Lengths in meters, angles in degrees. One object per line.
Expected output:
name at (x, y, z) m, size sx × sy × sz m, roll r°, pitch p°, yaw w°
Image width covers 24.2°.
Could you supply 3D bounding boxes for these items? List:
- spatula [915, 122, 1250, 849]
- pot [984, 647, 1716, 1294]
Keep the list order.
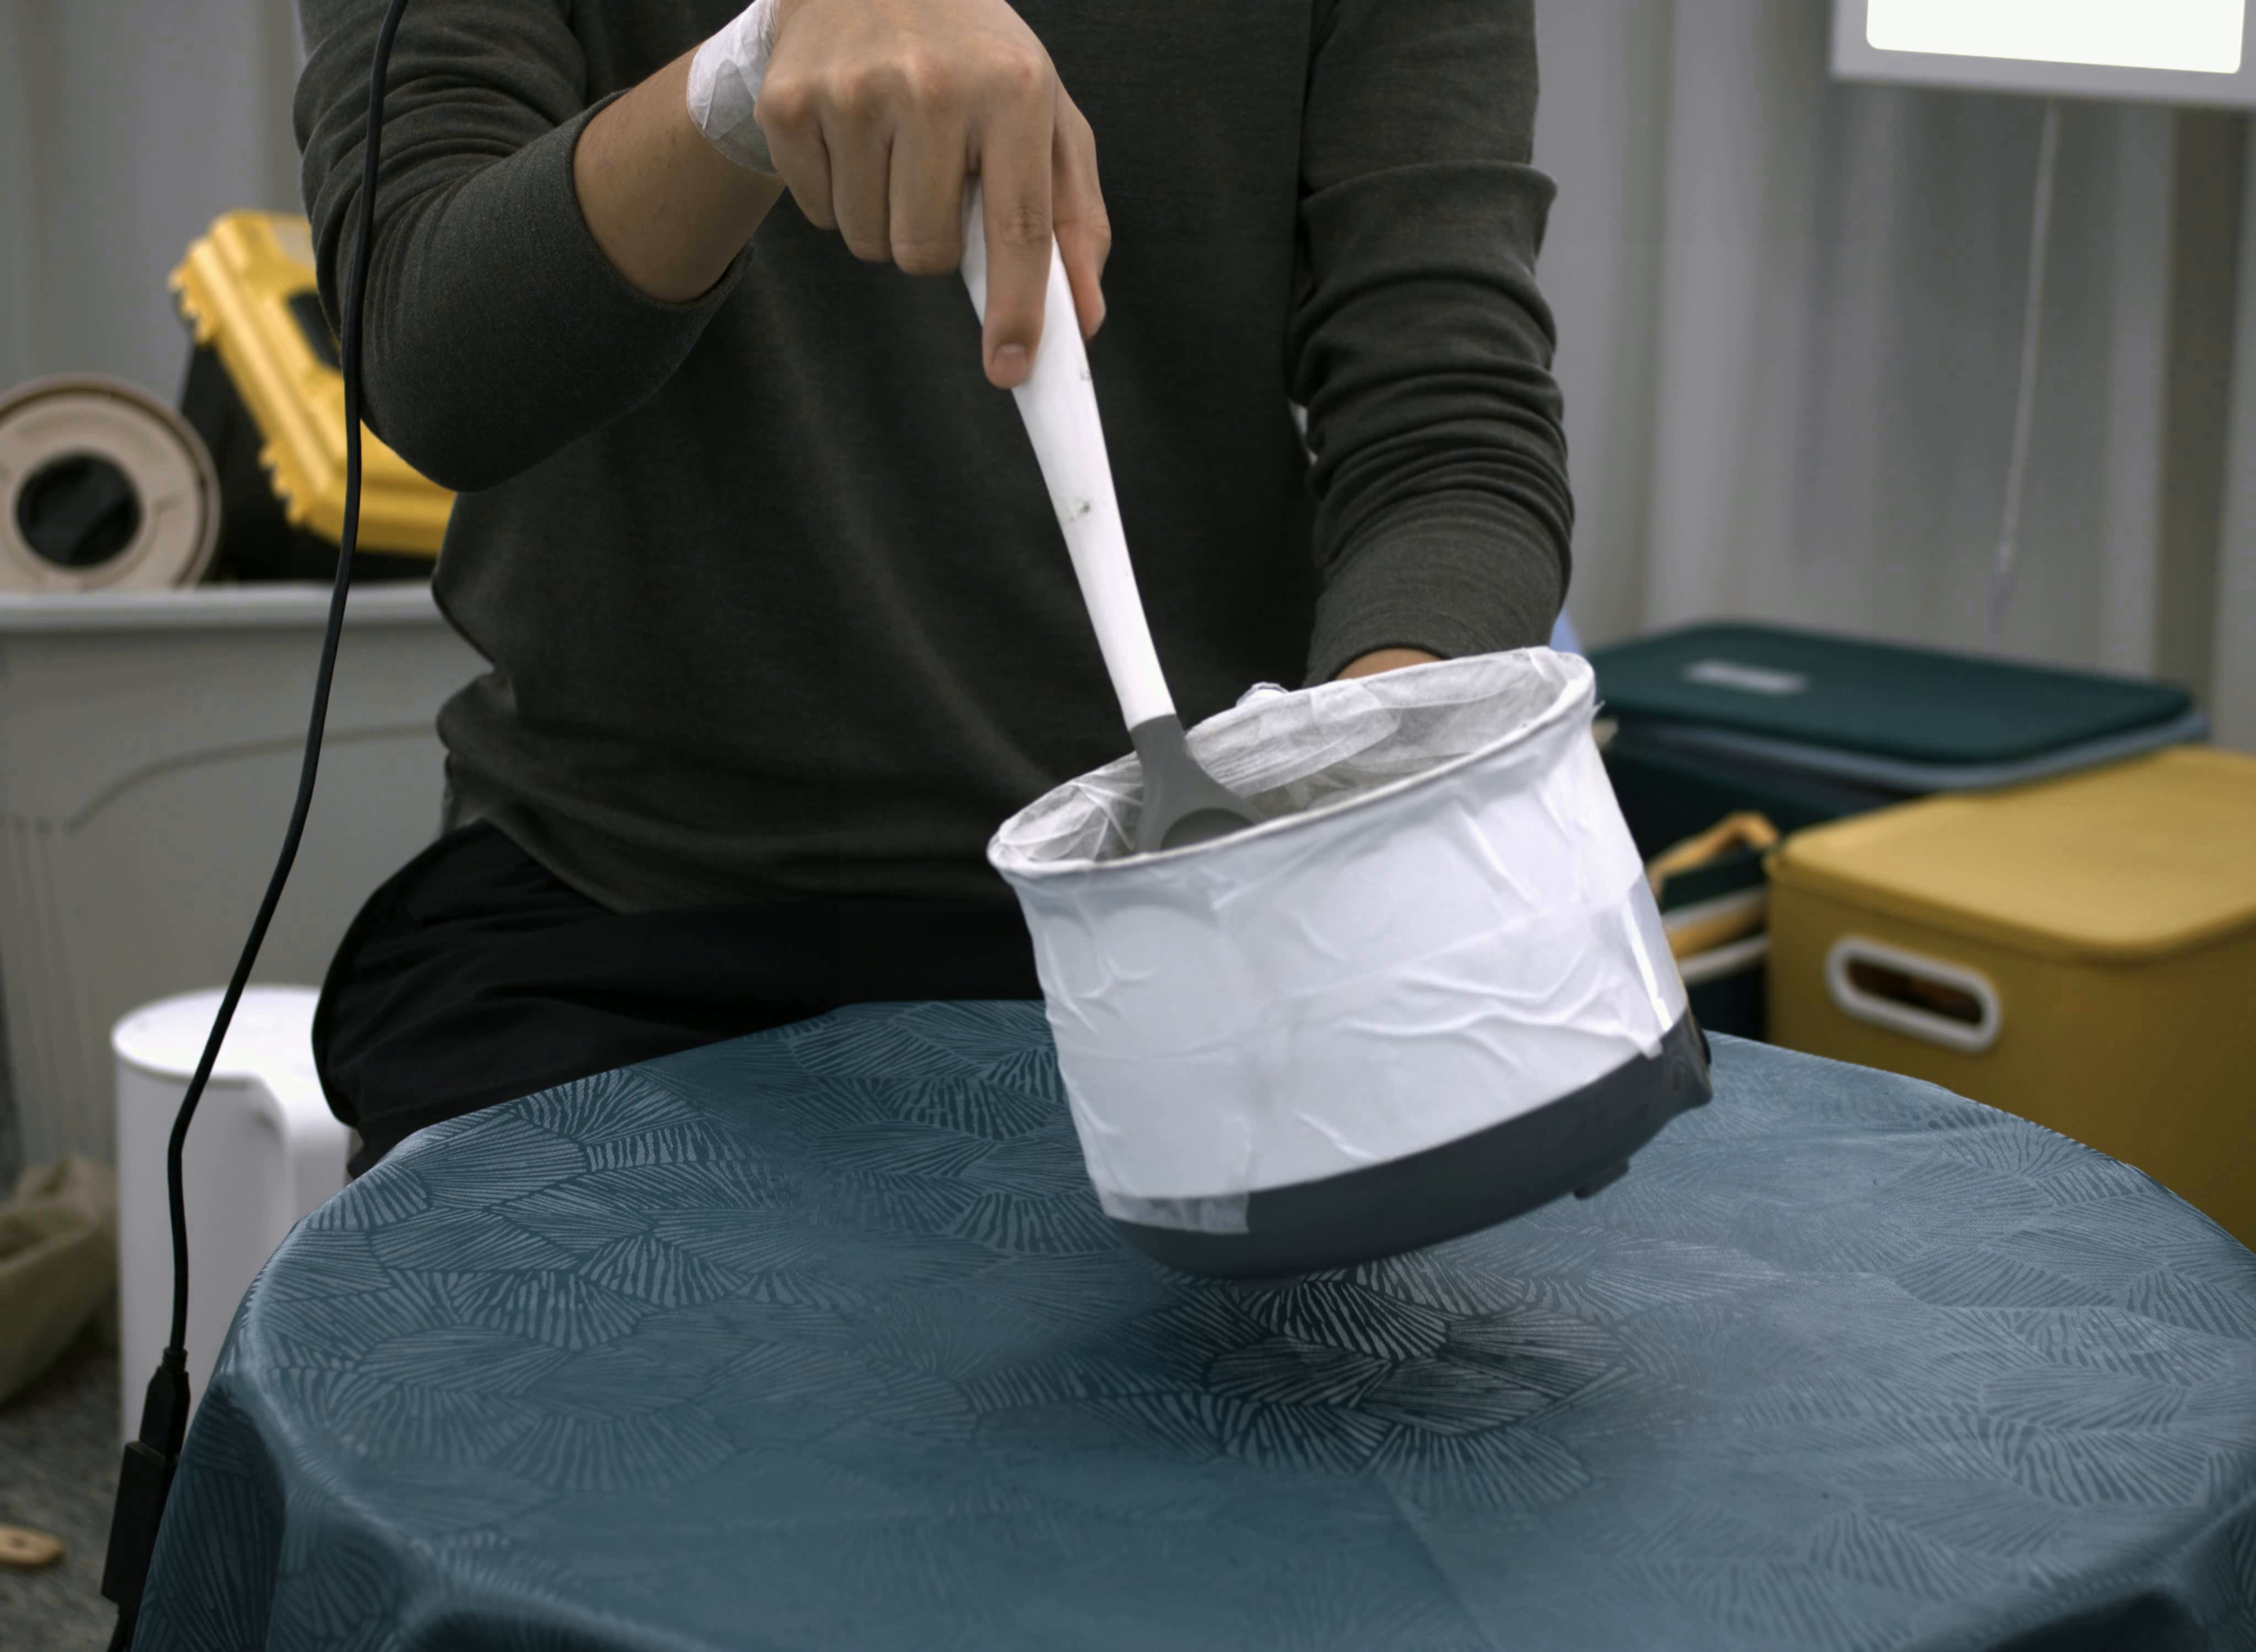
spatula at (-0.002, -0.066, 1.511) m, size 0.059 × 0.287 × 0.032 m, roll -14°, pitch -11°, yaw -27°
pot at (0.061, 0.035, 1.494) m, size 0.178 × 0.137 × 0.232 m, roll -17°, pitch 12°, yaw -1°
